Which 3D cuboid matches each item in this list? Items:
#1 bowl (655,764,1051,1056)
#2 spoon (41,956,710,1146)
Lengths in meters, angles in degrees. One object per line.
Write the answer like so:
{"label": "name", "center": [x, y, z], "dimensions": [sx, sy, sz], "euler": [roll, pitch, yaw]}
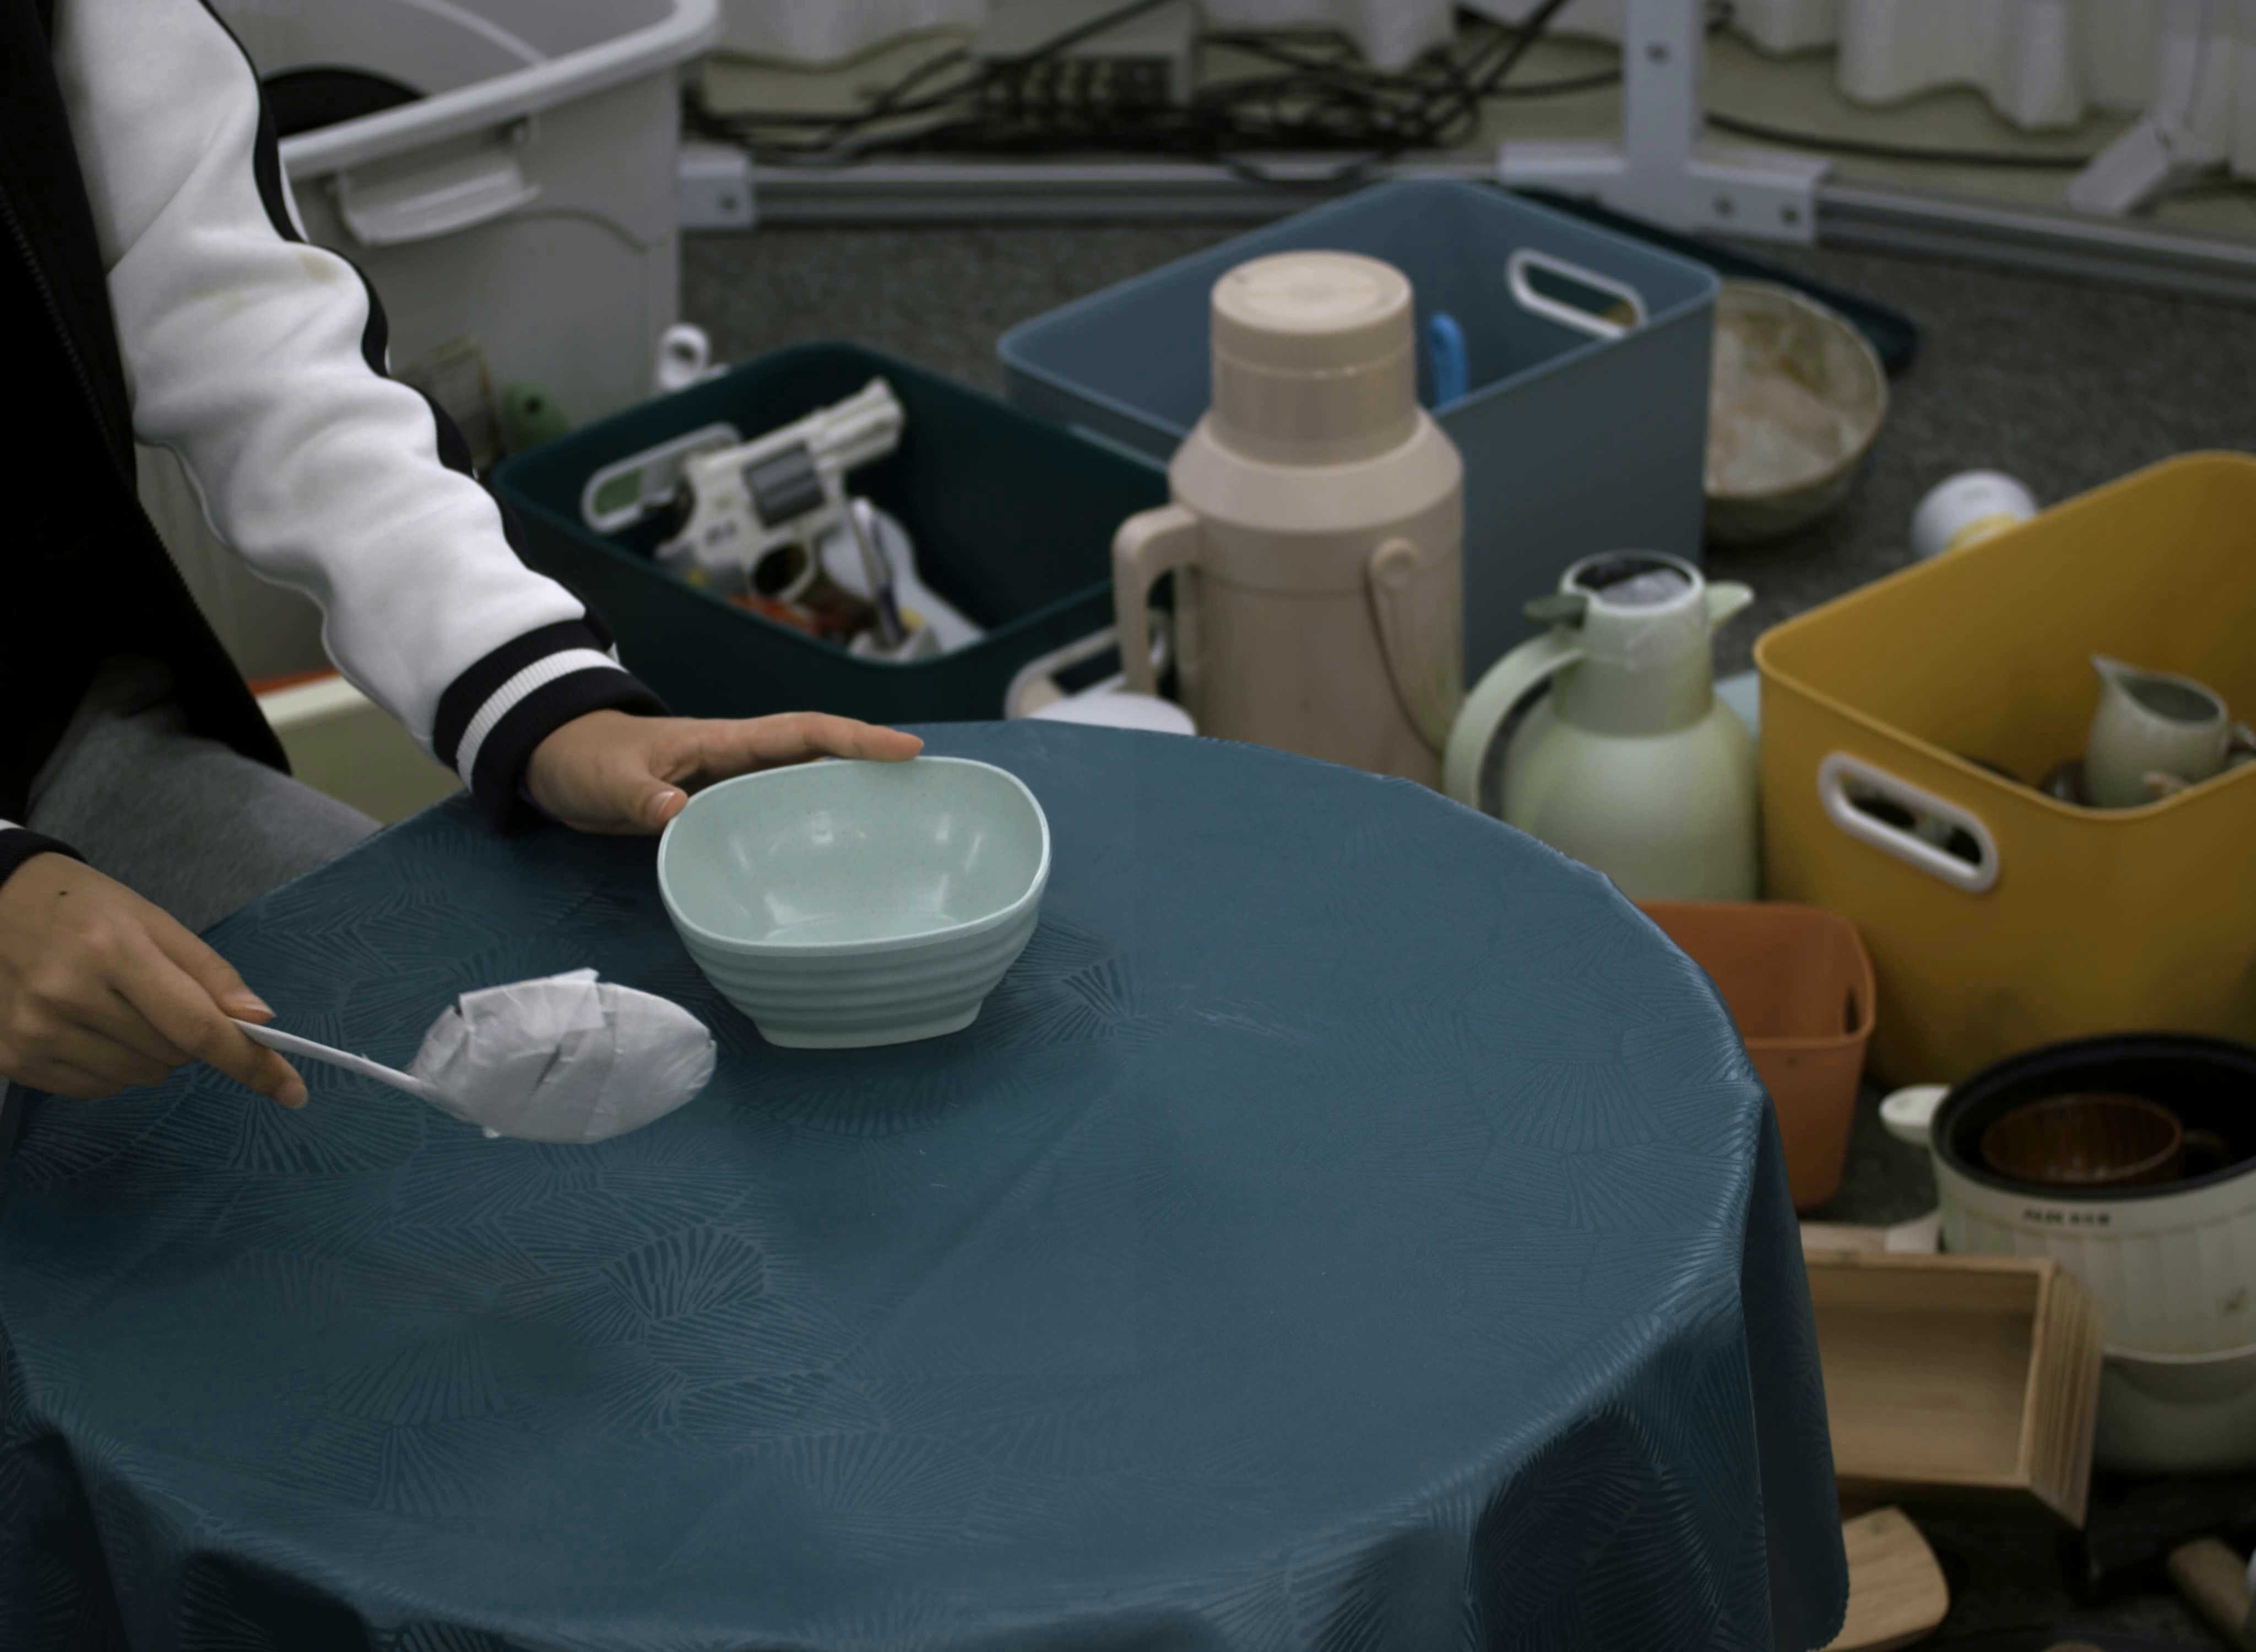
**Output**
{"label": "bowl", "center": [-0.095, 0.035, 1.981], "dimensions": [0.151, 0.058, 0.154], "euler": [-2, 27, 1]}
{"label": "spoon", "center": [-0.252, 0.057, 1.849], "dimensions": [0.276, 0.100, 0.060], "euler": [14, 62, 40]}
